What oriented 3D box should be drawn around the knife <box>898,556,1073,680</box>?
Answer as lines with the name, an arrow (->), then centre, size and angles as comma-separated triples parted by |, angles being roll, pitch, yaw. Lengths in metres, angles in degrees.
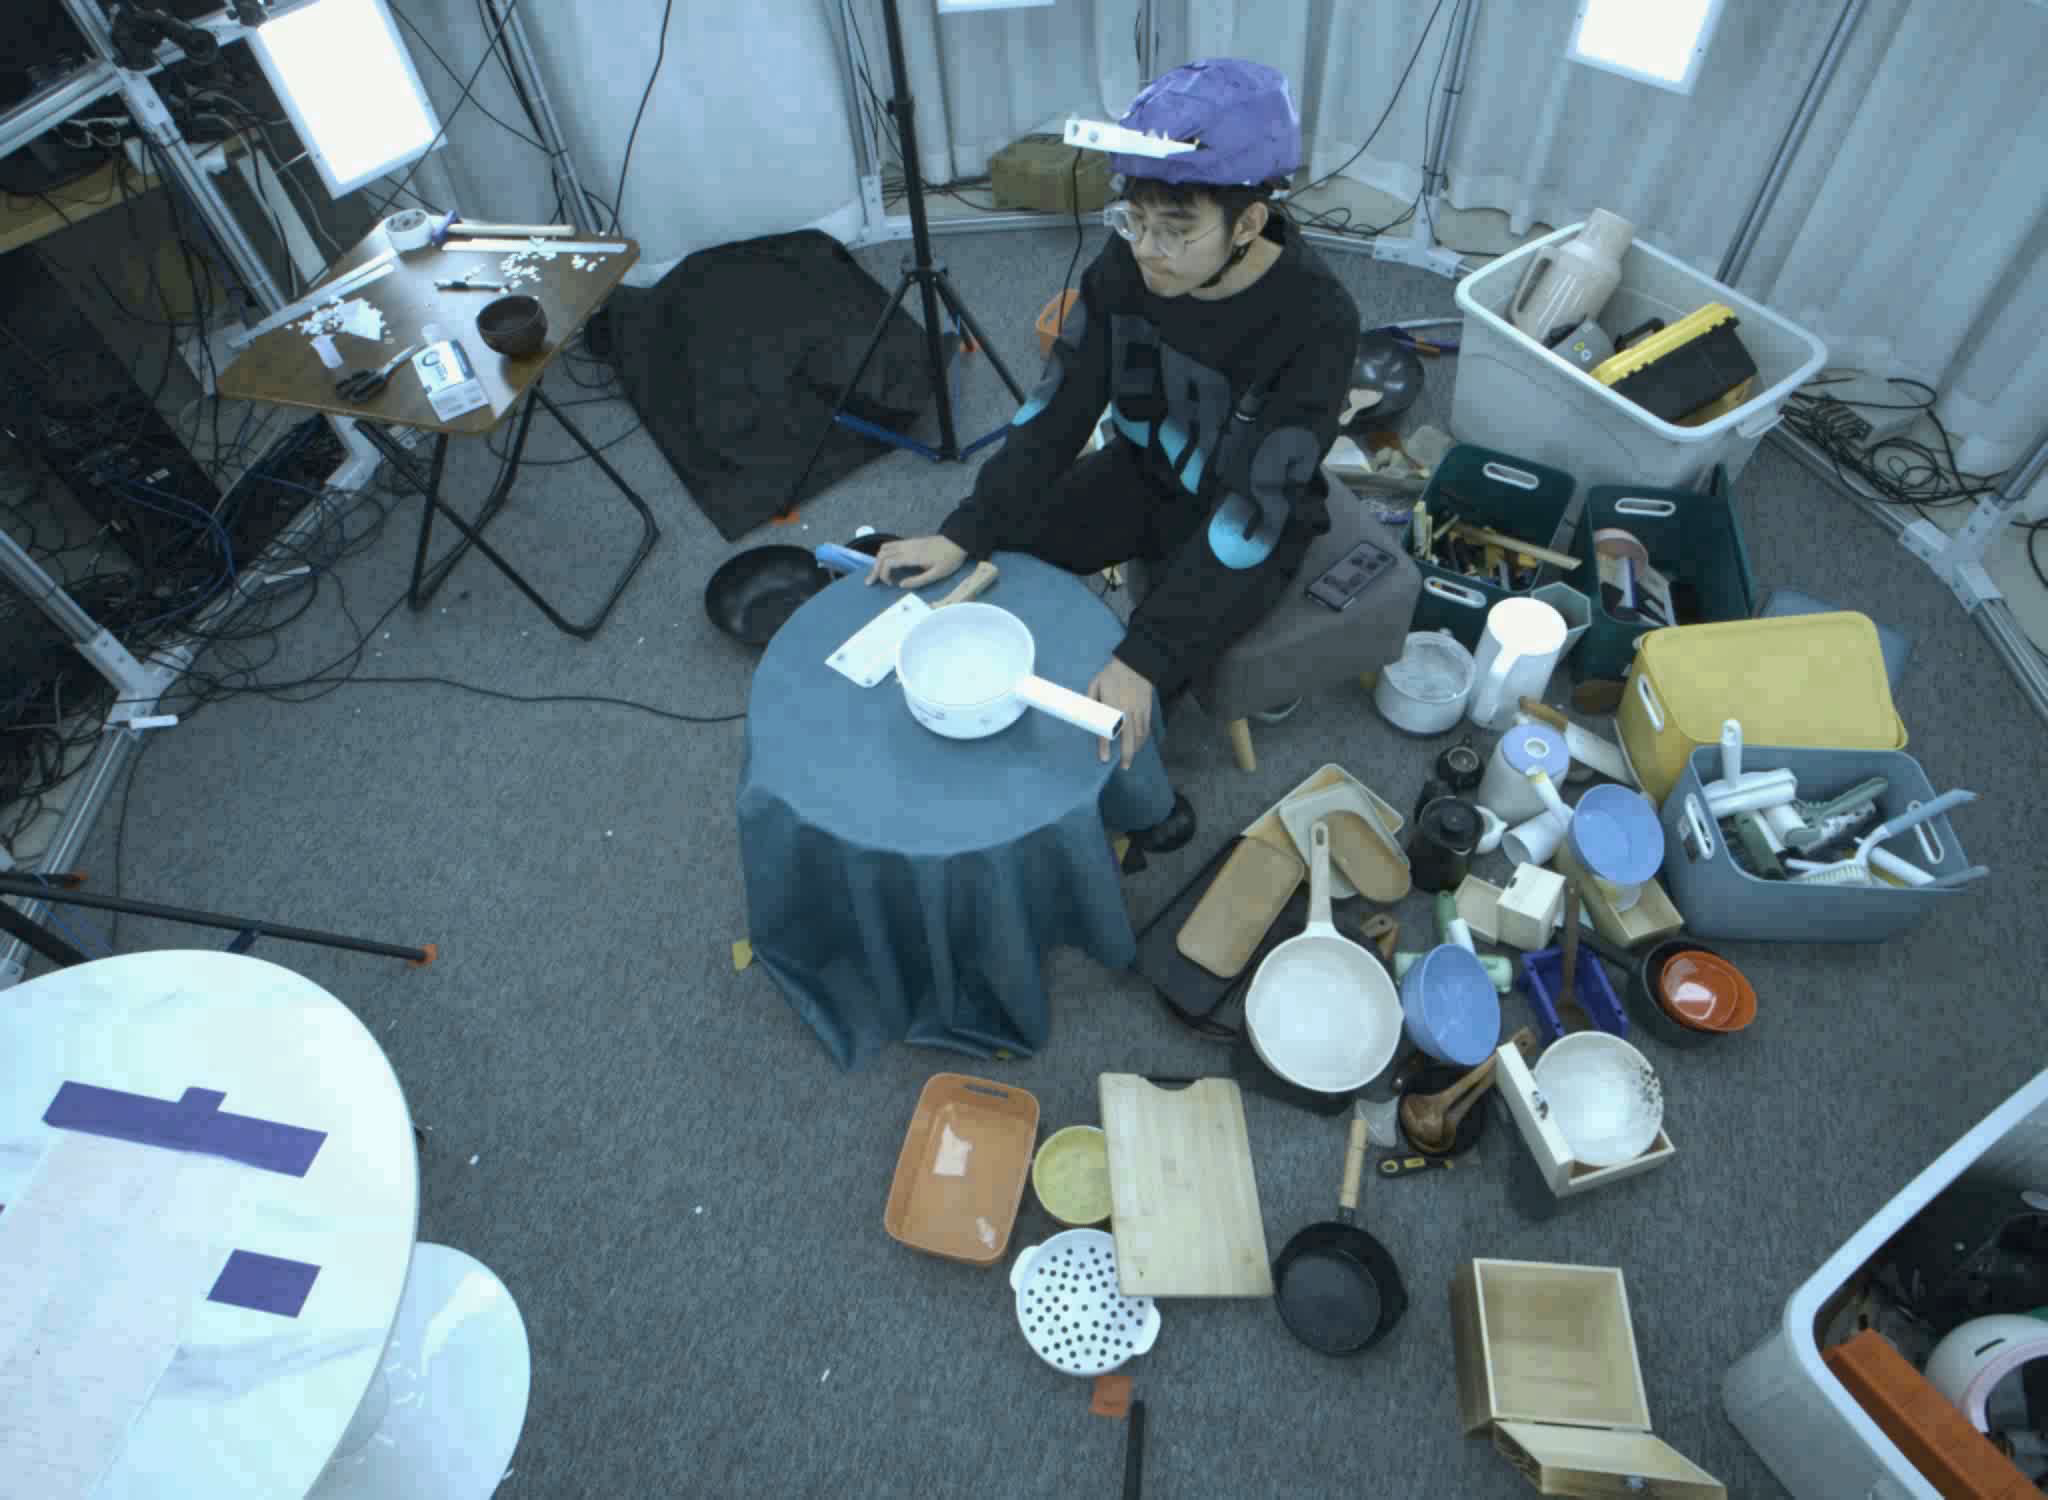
knife -> -0.050, -0.213, 1.929 | 0.317, 0.022, 0.112 | -36, 61, -18

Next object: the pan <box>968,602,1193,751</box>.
pan -> 0.084, -0.077, 1.779 | 0.349, 0.103, 0.202 | 29, 59, 20
